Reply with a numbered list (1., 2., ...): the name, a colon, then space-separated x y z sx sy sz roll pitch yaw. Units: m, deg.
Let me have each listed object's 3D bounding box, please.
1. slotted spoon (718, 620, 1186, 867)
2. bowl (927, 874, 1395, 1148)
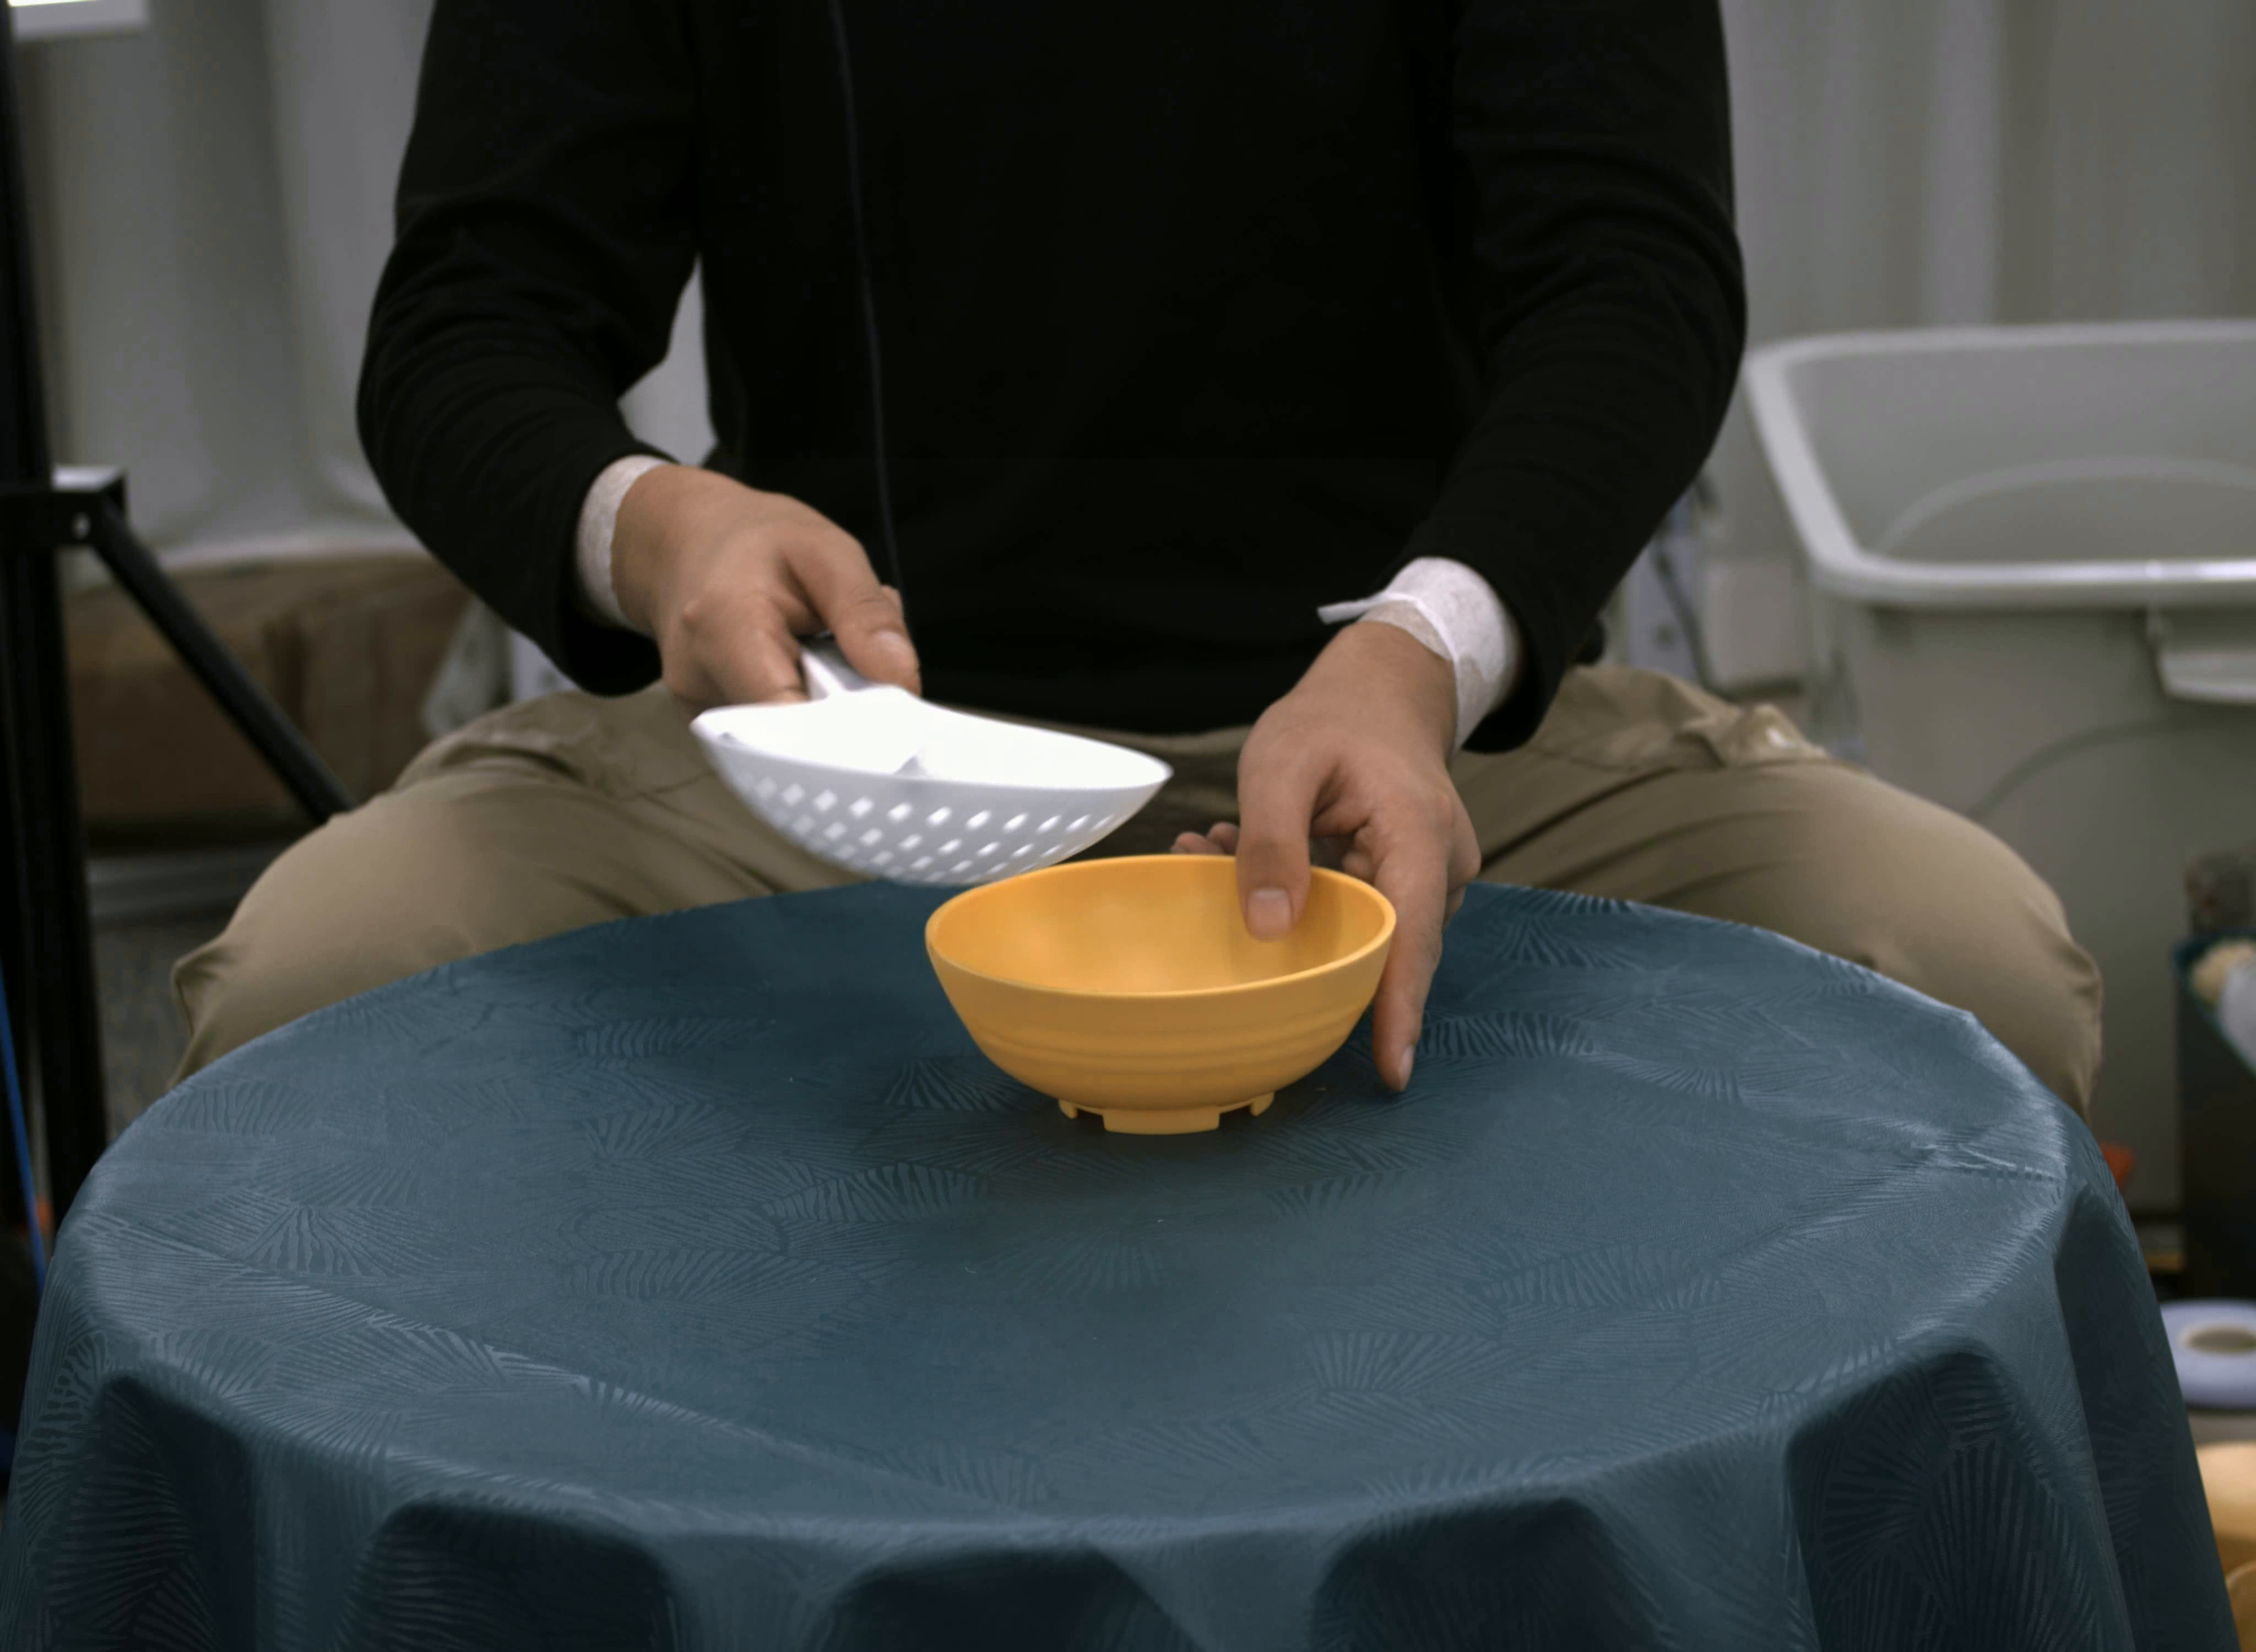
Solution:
1. slotted spoon: -0.073 -0.036 1.629 0.134 0.046 0.353 6 12 -12
2. bowl: 0.010 0.061 1.631 0.144 0.060 0.146 0 13 -1
